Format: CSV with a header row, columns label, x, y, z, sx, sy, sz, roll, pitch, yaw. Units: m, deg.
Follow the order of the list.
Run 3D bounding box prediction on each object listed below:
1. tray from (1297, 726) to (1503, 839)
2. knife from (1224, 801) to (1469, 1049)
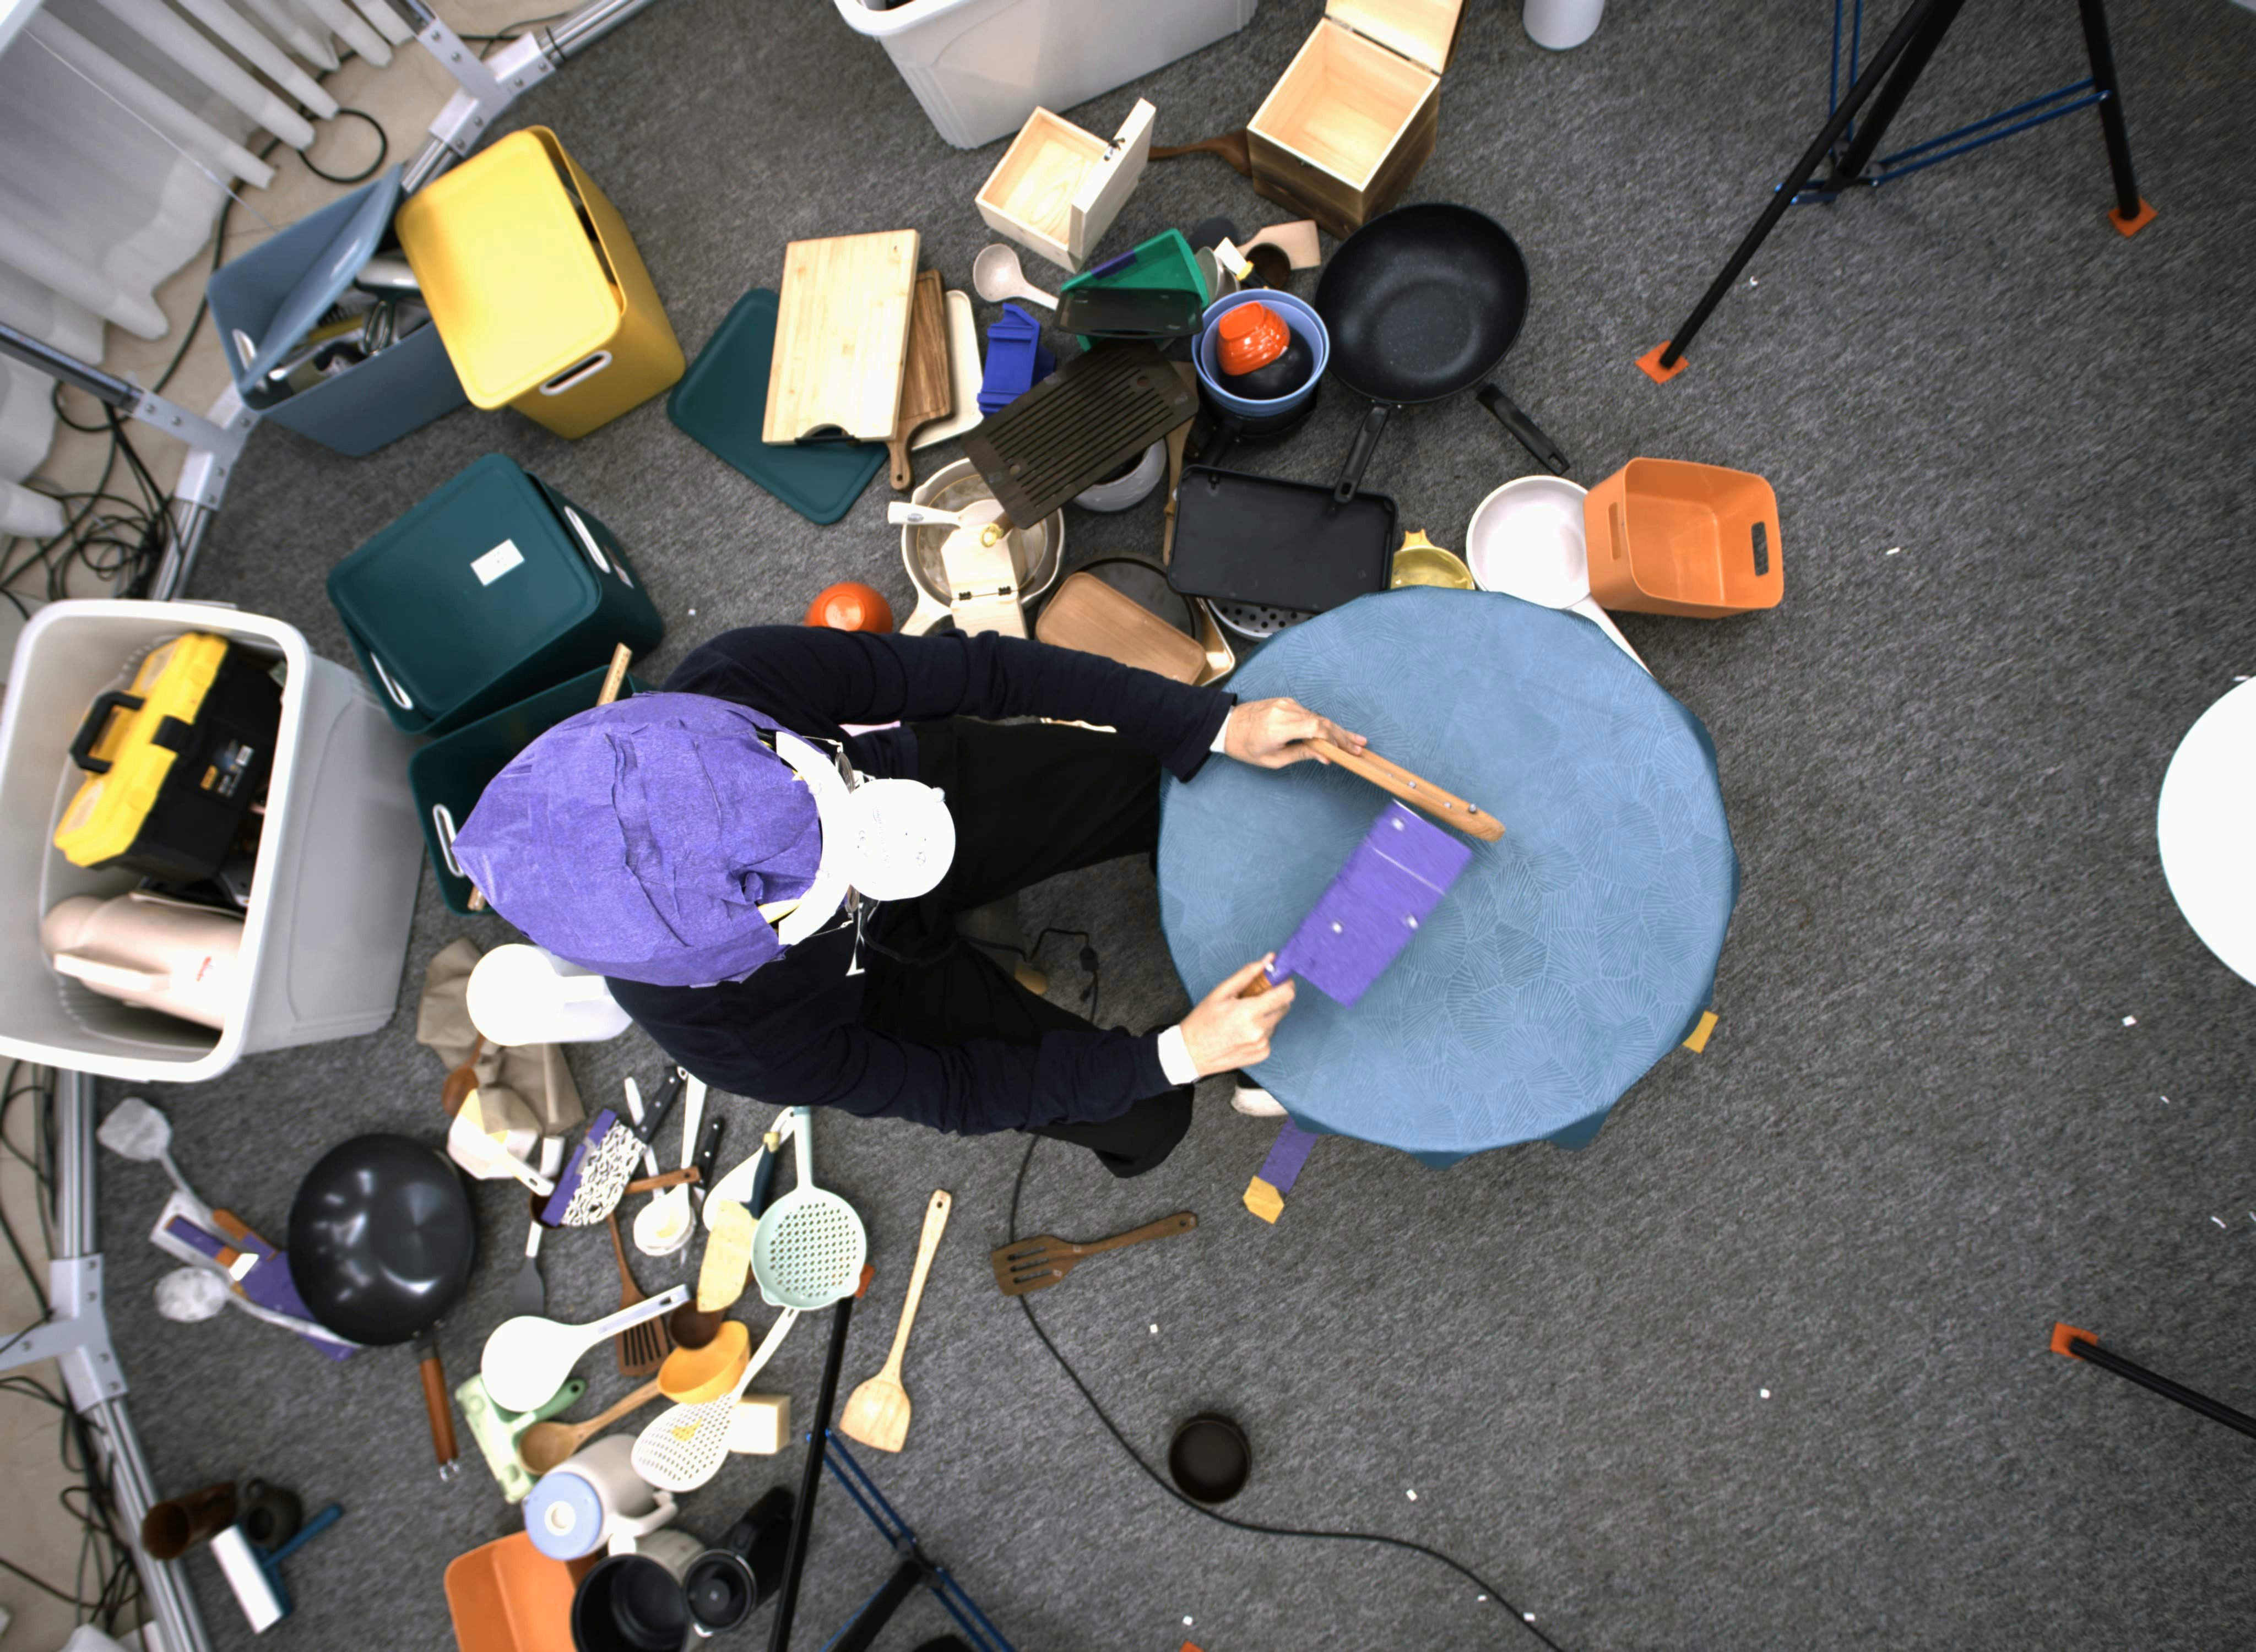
label,x,y,z,sx,sy,sz,roll,pitch,yaw
tray,0.272,-0.047,1.393,0.230,0.101,0.020,29,105,24
knife,0.208,0.120,1.339,0.104,0.031,0.322,35,121,4
